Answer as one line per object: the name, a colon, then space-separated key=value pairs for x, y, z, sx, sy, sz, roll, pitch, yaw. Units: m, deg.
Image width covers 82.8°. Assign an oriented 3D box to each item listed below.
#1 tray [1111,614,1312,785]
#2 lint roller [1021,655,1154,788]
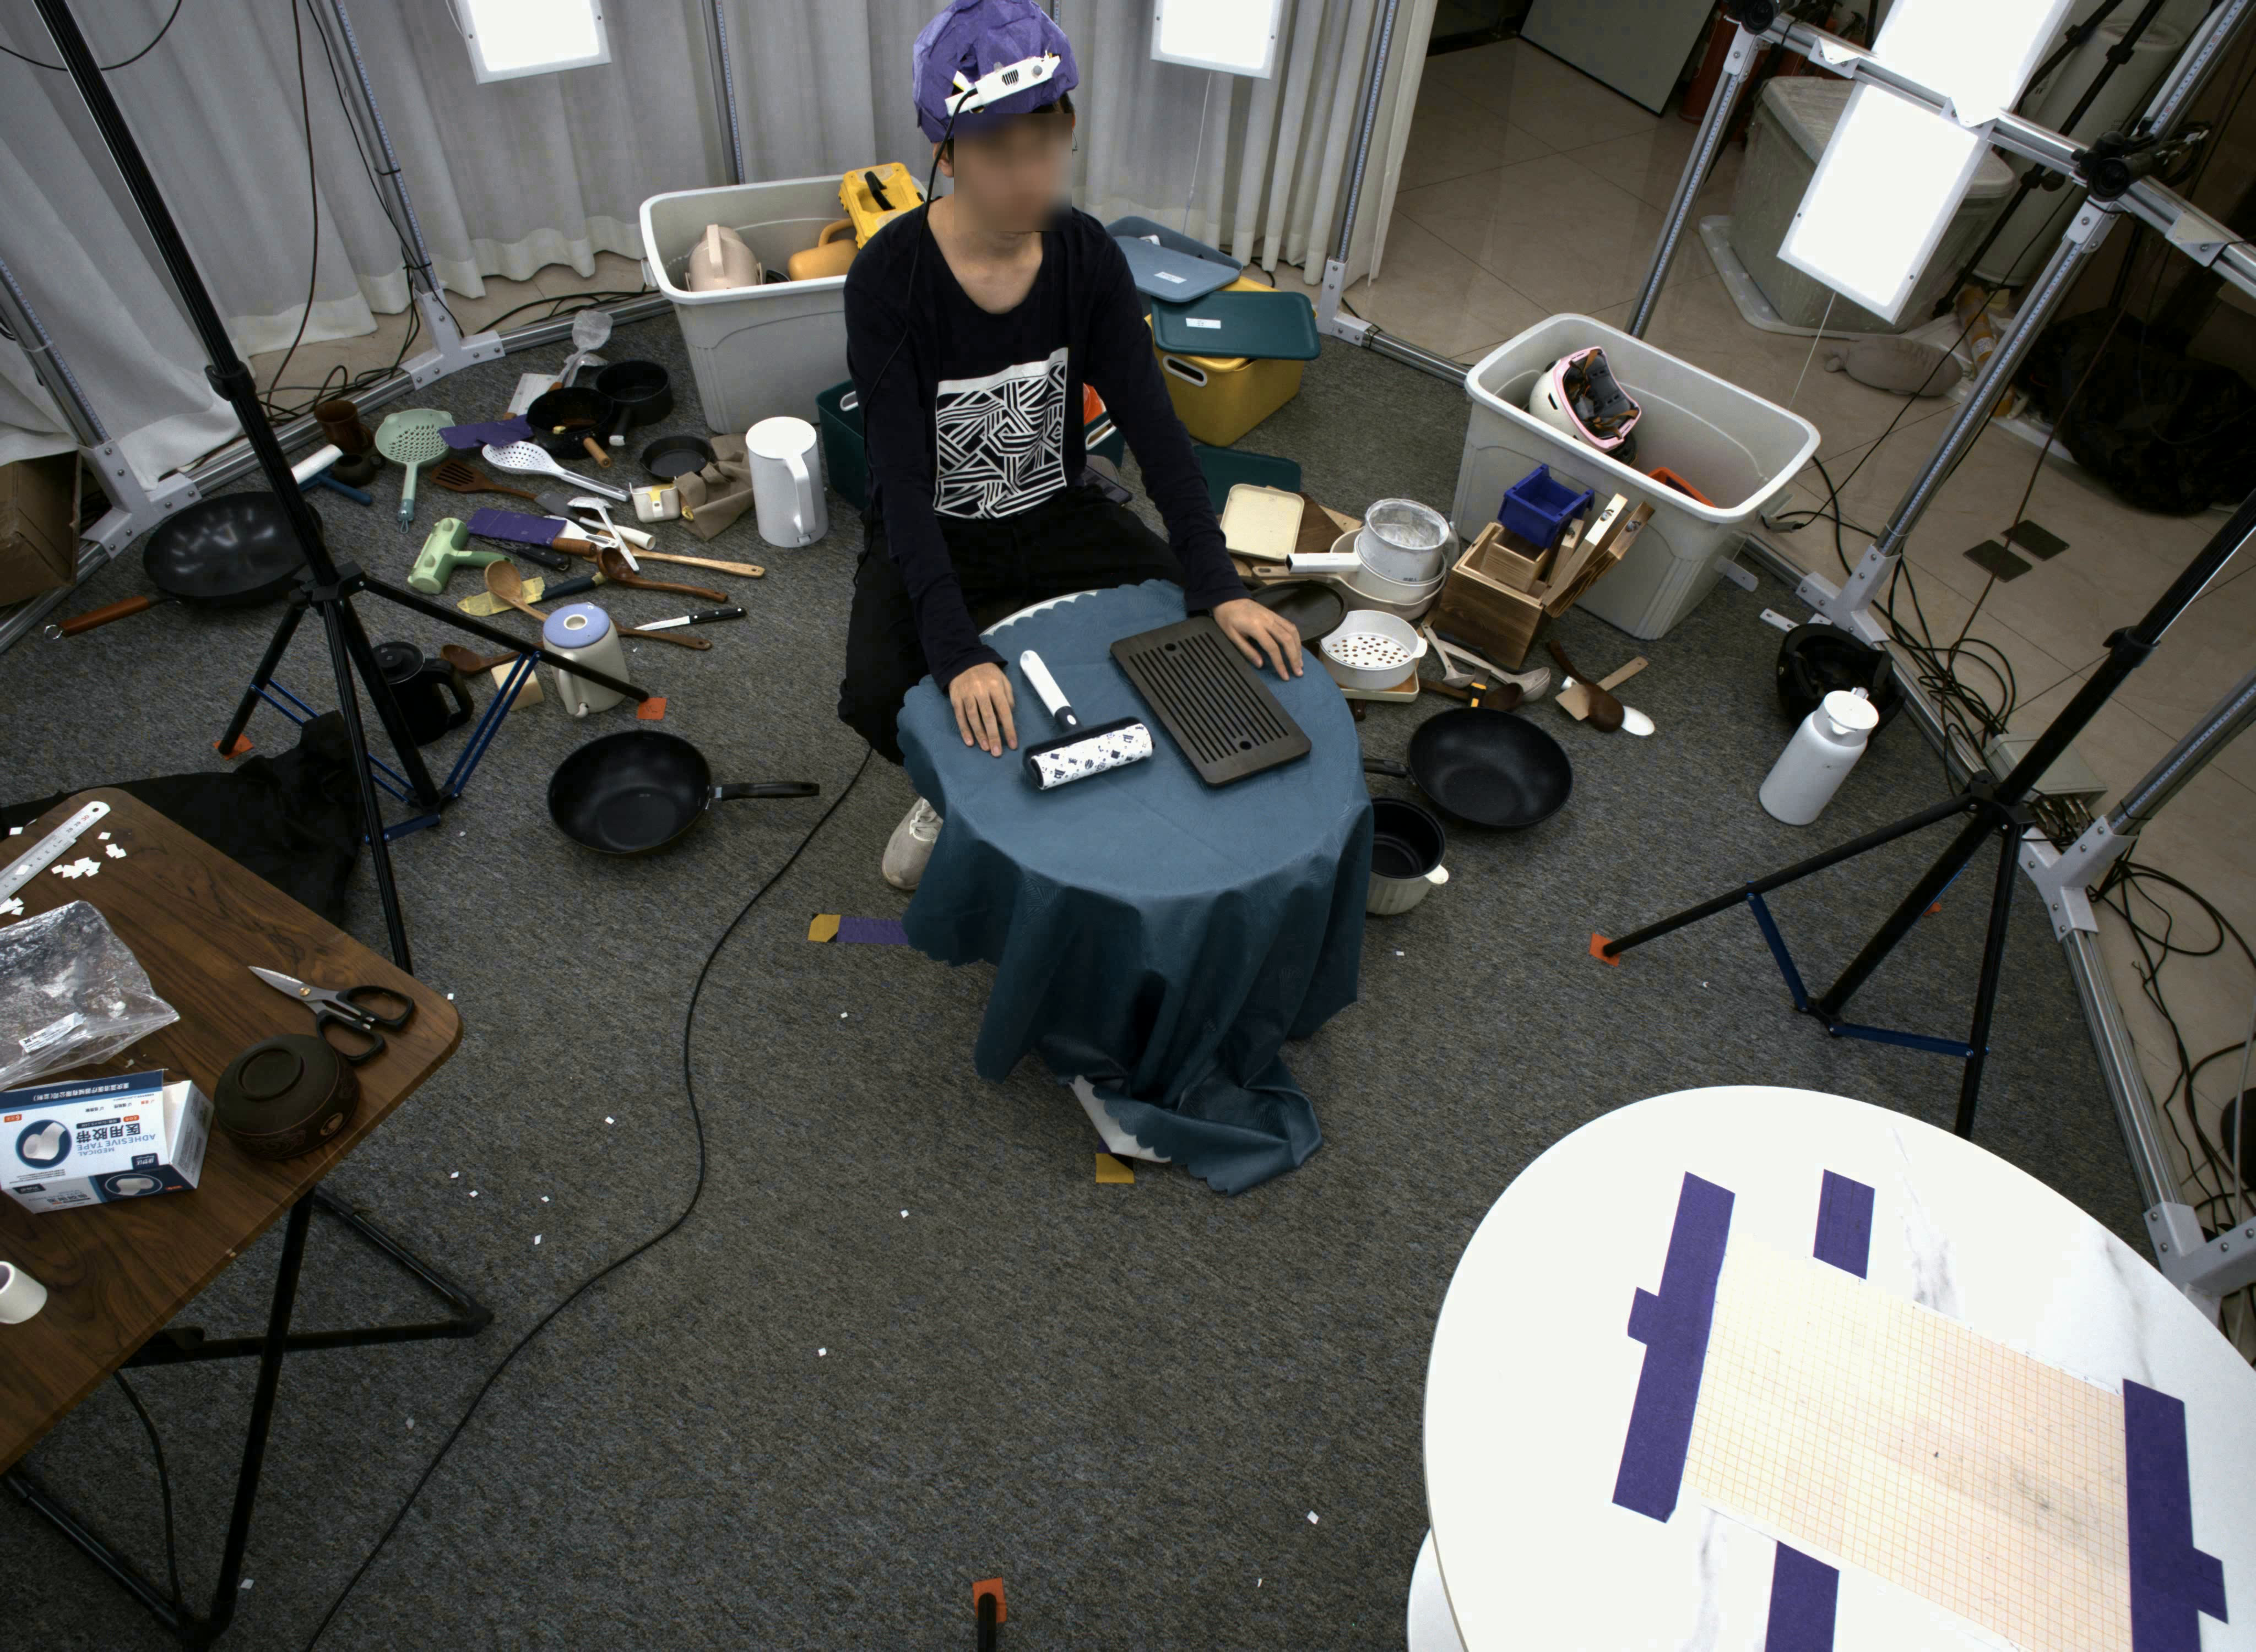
tray: x=0.115 y=-0.184 z=1.823 sx=0.170 sy=0.018 sz=0.313 roll=-19 pitch=52 yaw=-19
lint roller: x=-0.095 y=-0.164 z=1.776 sx=0.176 sy=0.049 sz=0.252 roll=-19 pitch=51 yaw=-18
